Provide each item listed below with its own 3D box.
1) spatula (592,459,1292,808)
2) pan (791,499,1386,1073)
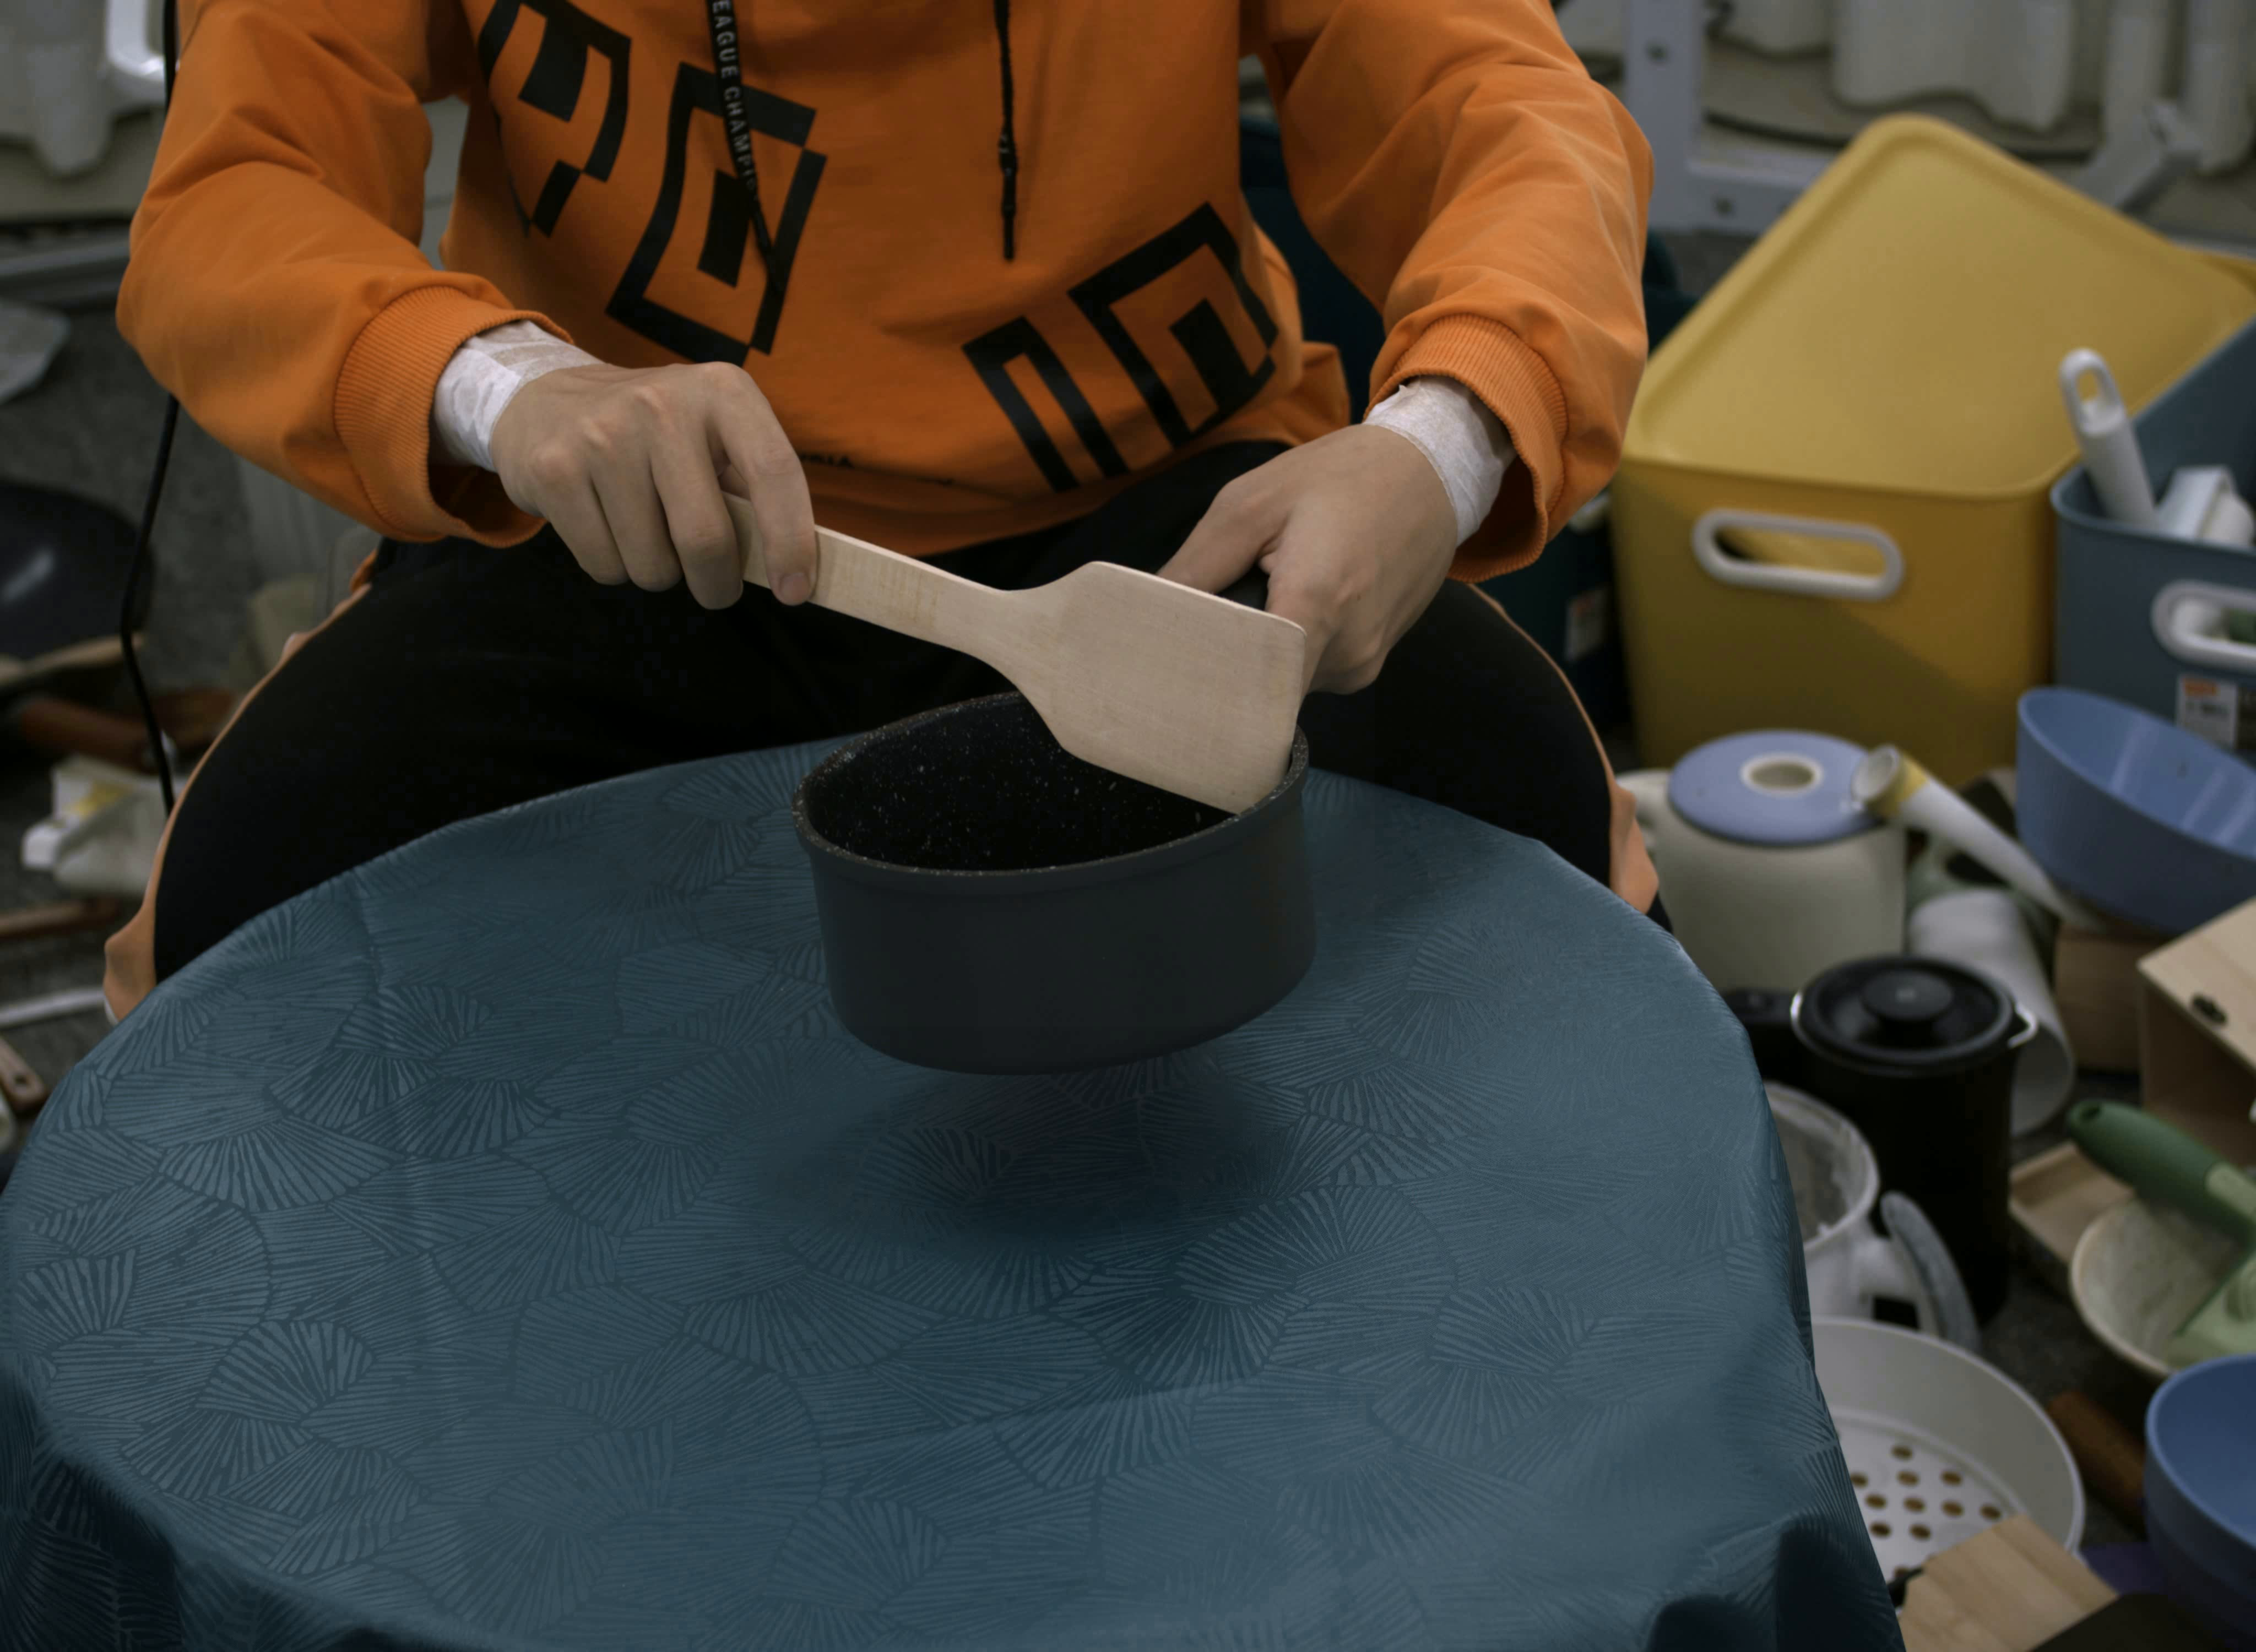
[{"bbox_3d":[-0.069,-0.077,1.912,0.292,0.072,0.011,20,22,30],"label":"spatula"},{"bbox_3d":[0.011,-0.016,1.920,0.170,0.086,0.334,5,25,25],"label":"pan"}]
